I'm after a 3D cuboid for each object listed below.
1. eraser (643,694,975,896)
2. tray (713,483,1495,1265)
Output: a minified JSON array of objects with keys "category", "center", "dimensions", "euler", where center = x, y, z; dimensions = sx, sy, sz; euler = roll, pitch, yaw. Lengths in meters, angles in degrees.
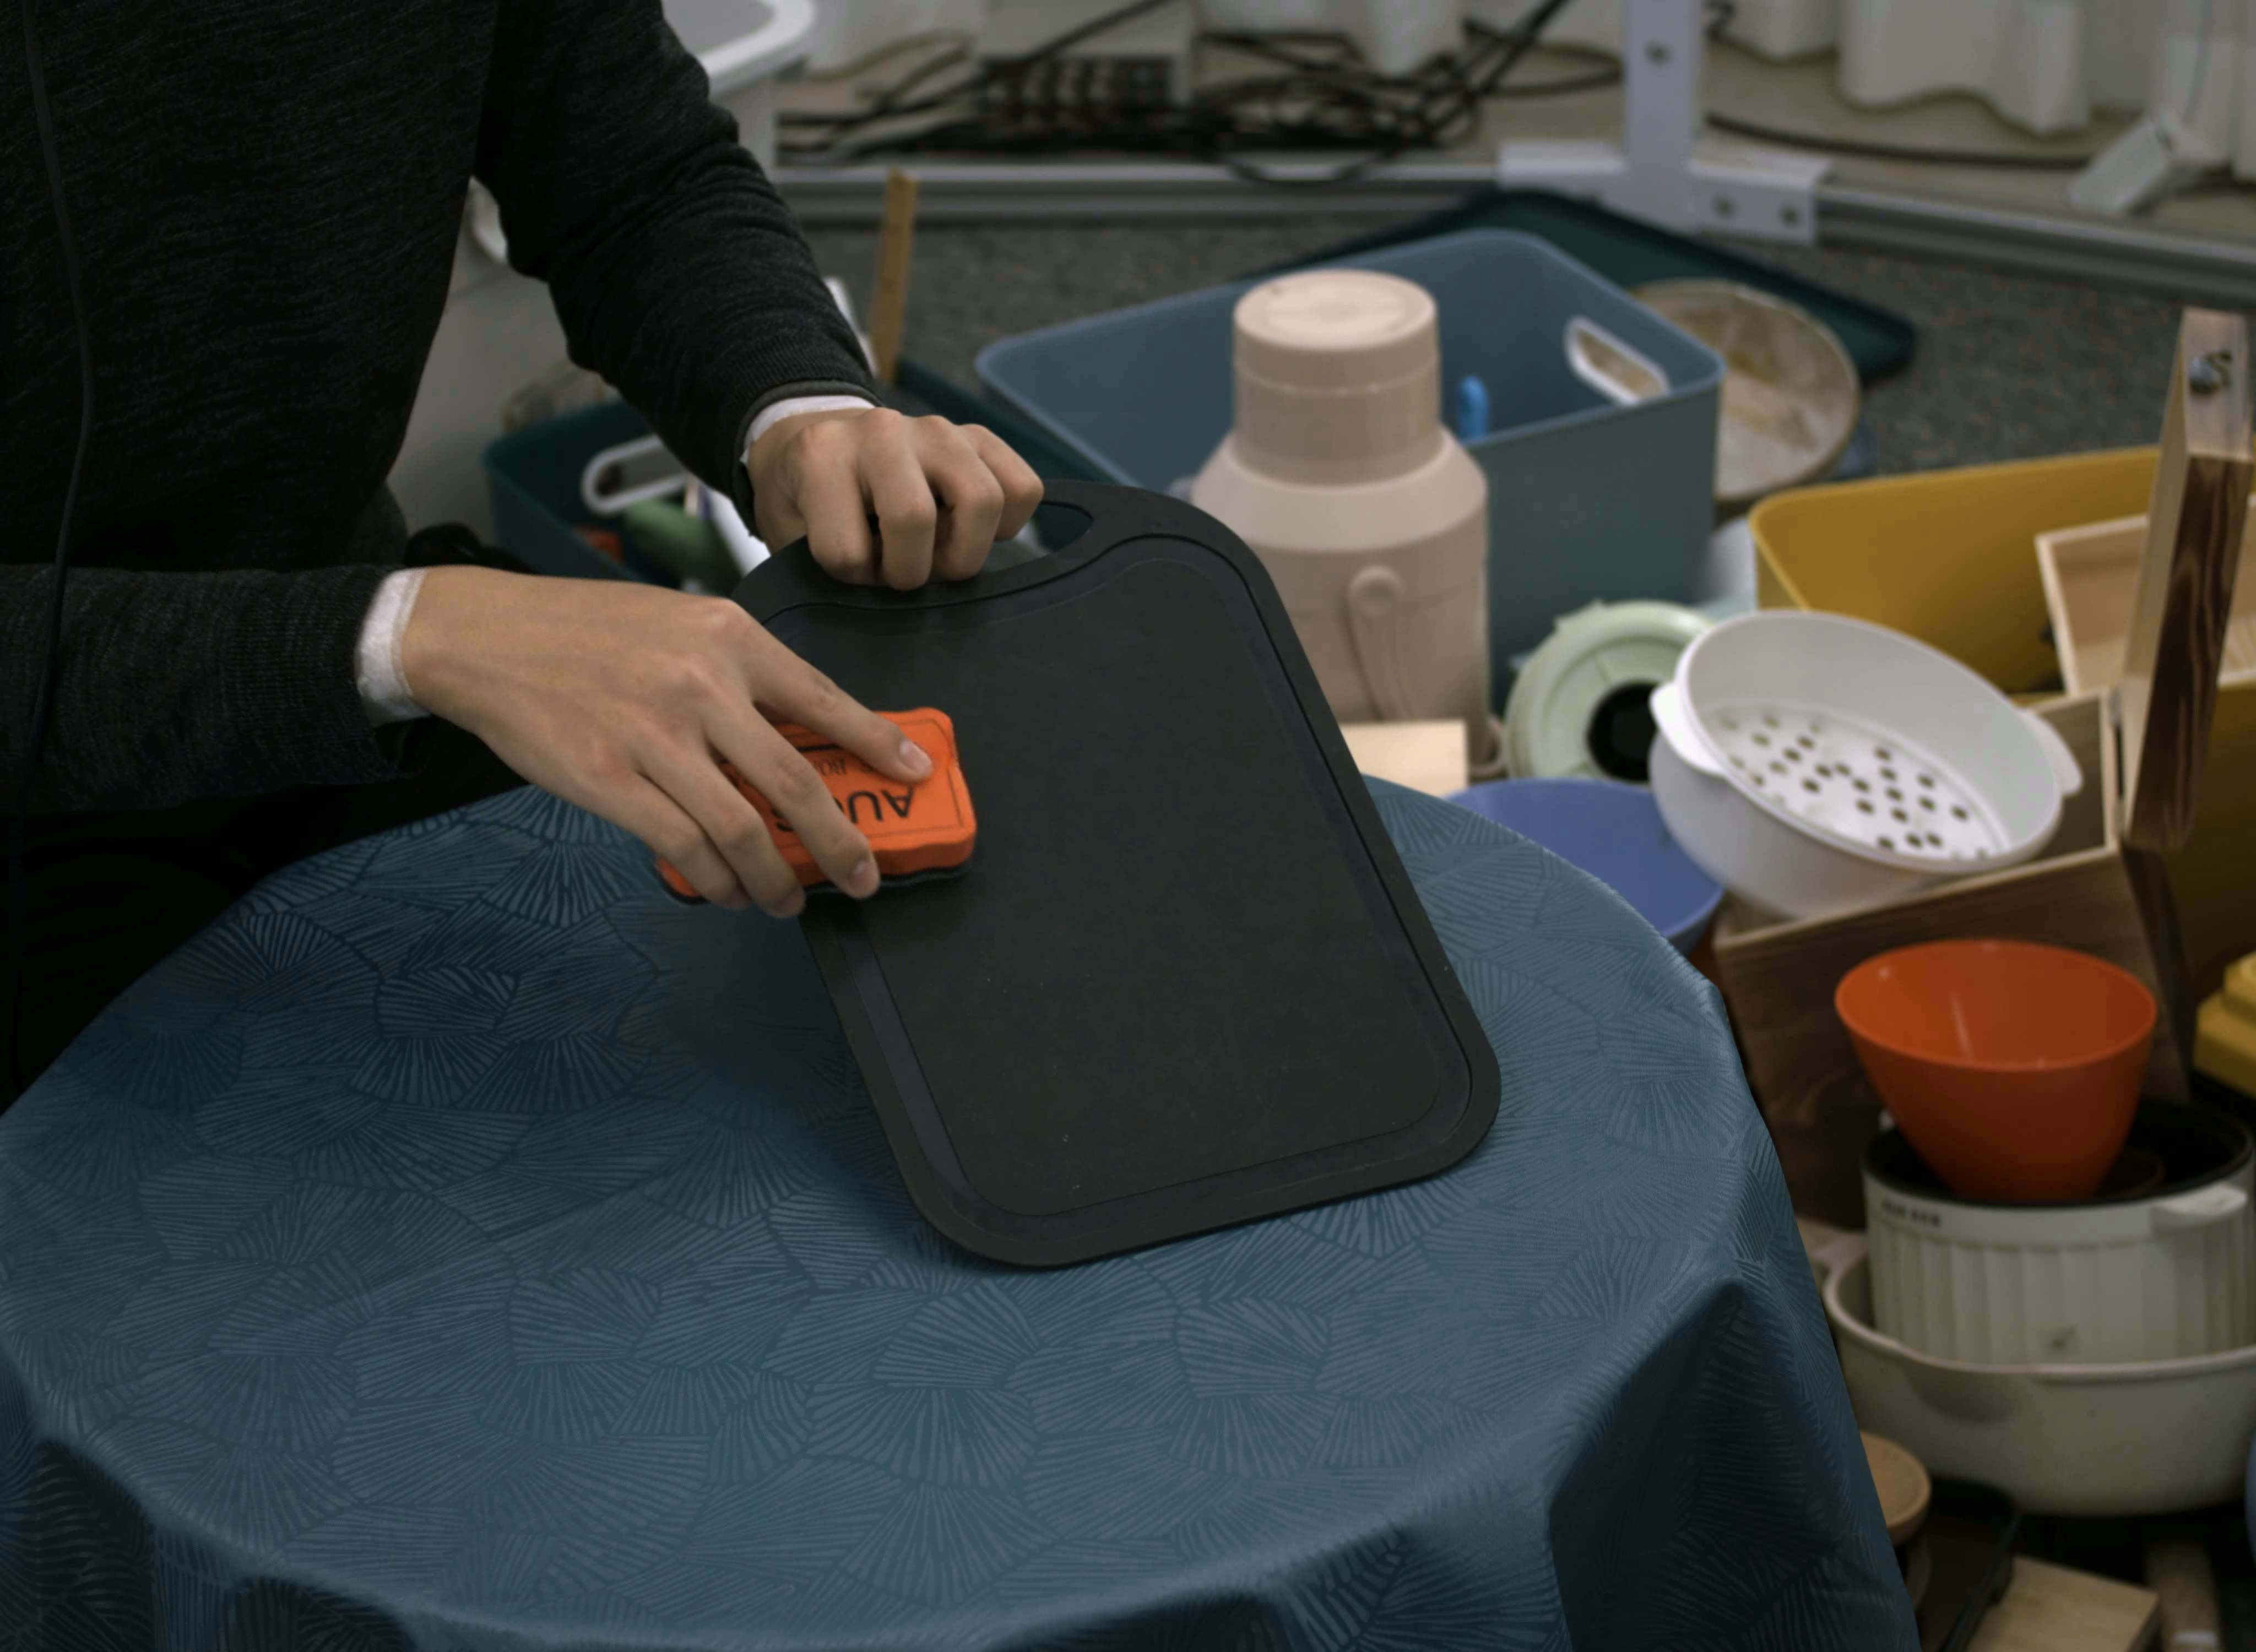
[{"category":"eraser","center":[-0.109,-0.010,1.913],"dimensions":[0.108,0.022,0.060],"euler":[-8,51,-13]},{"category":"tray","center":[-0.015,0.005,1.931],"dimensions":[0.211,0.009,0.330],"euler":[-11,54,-17]}]
